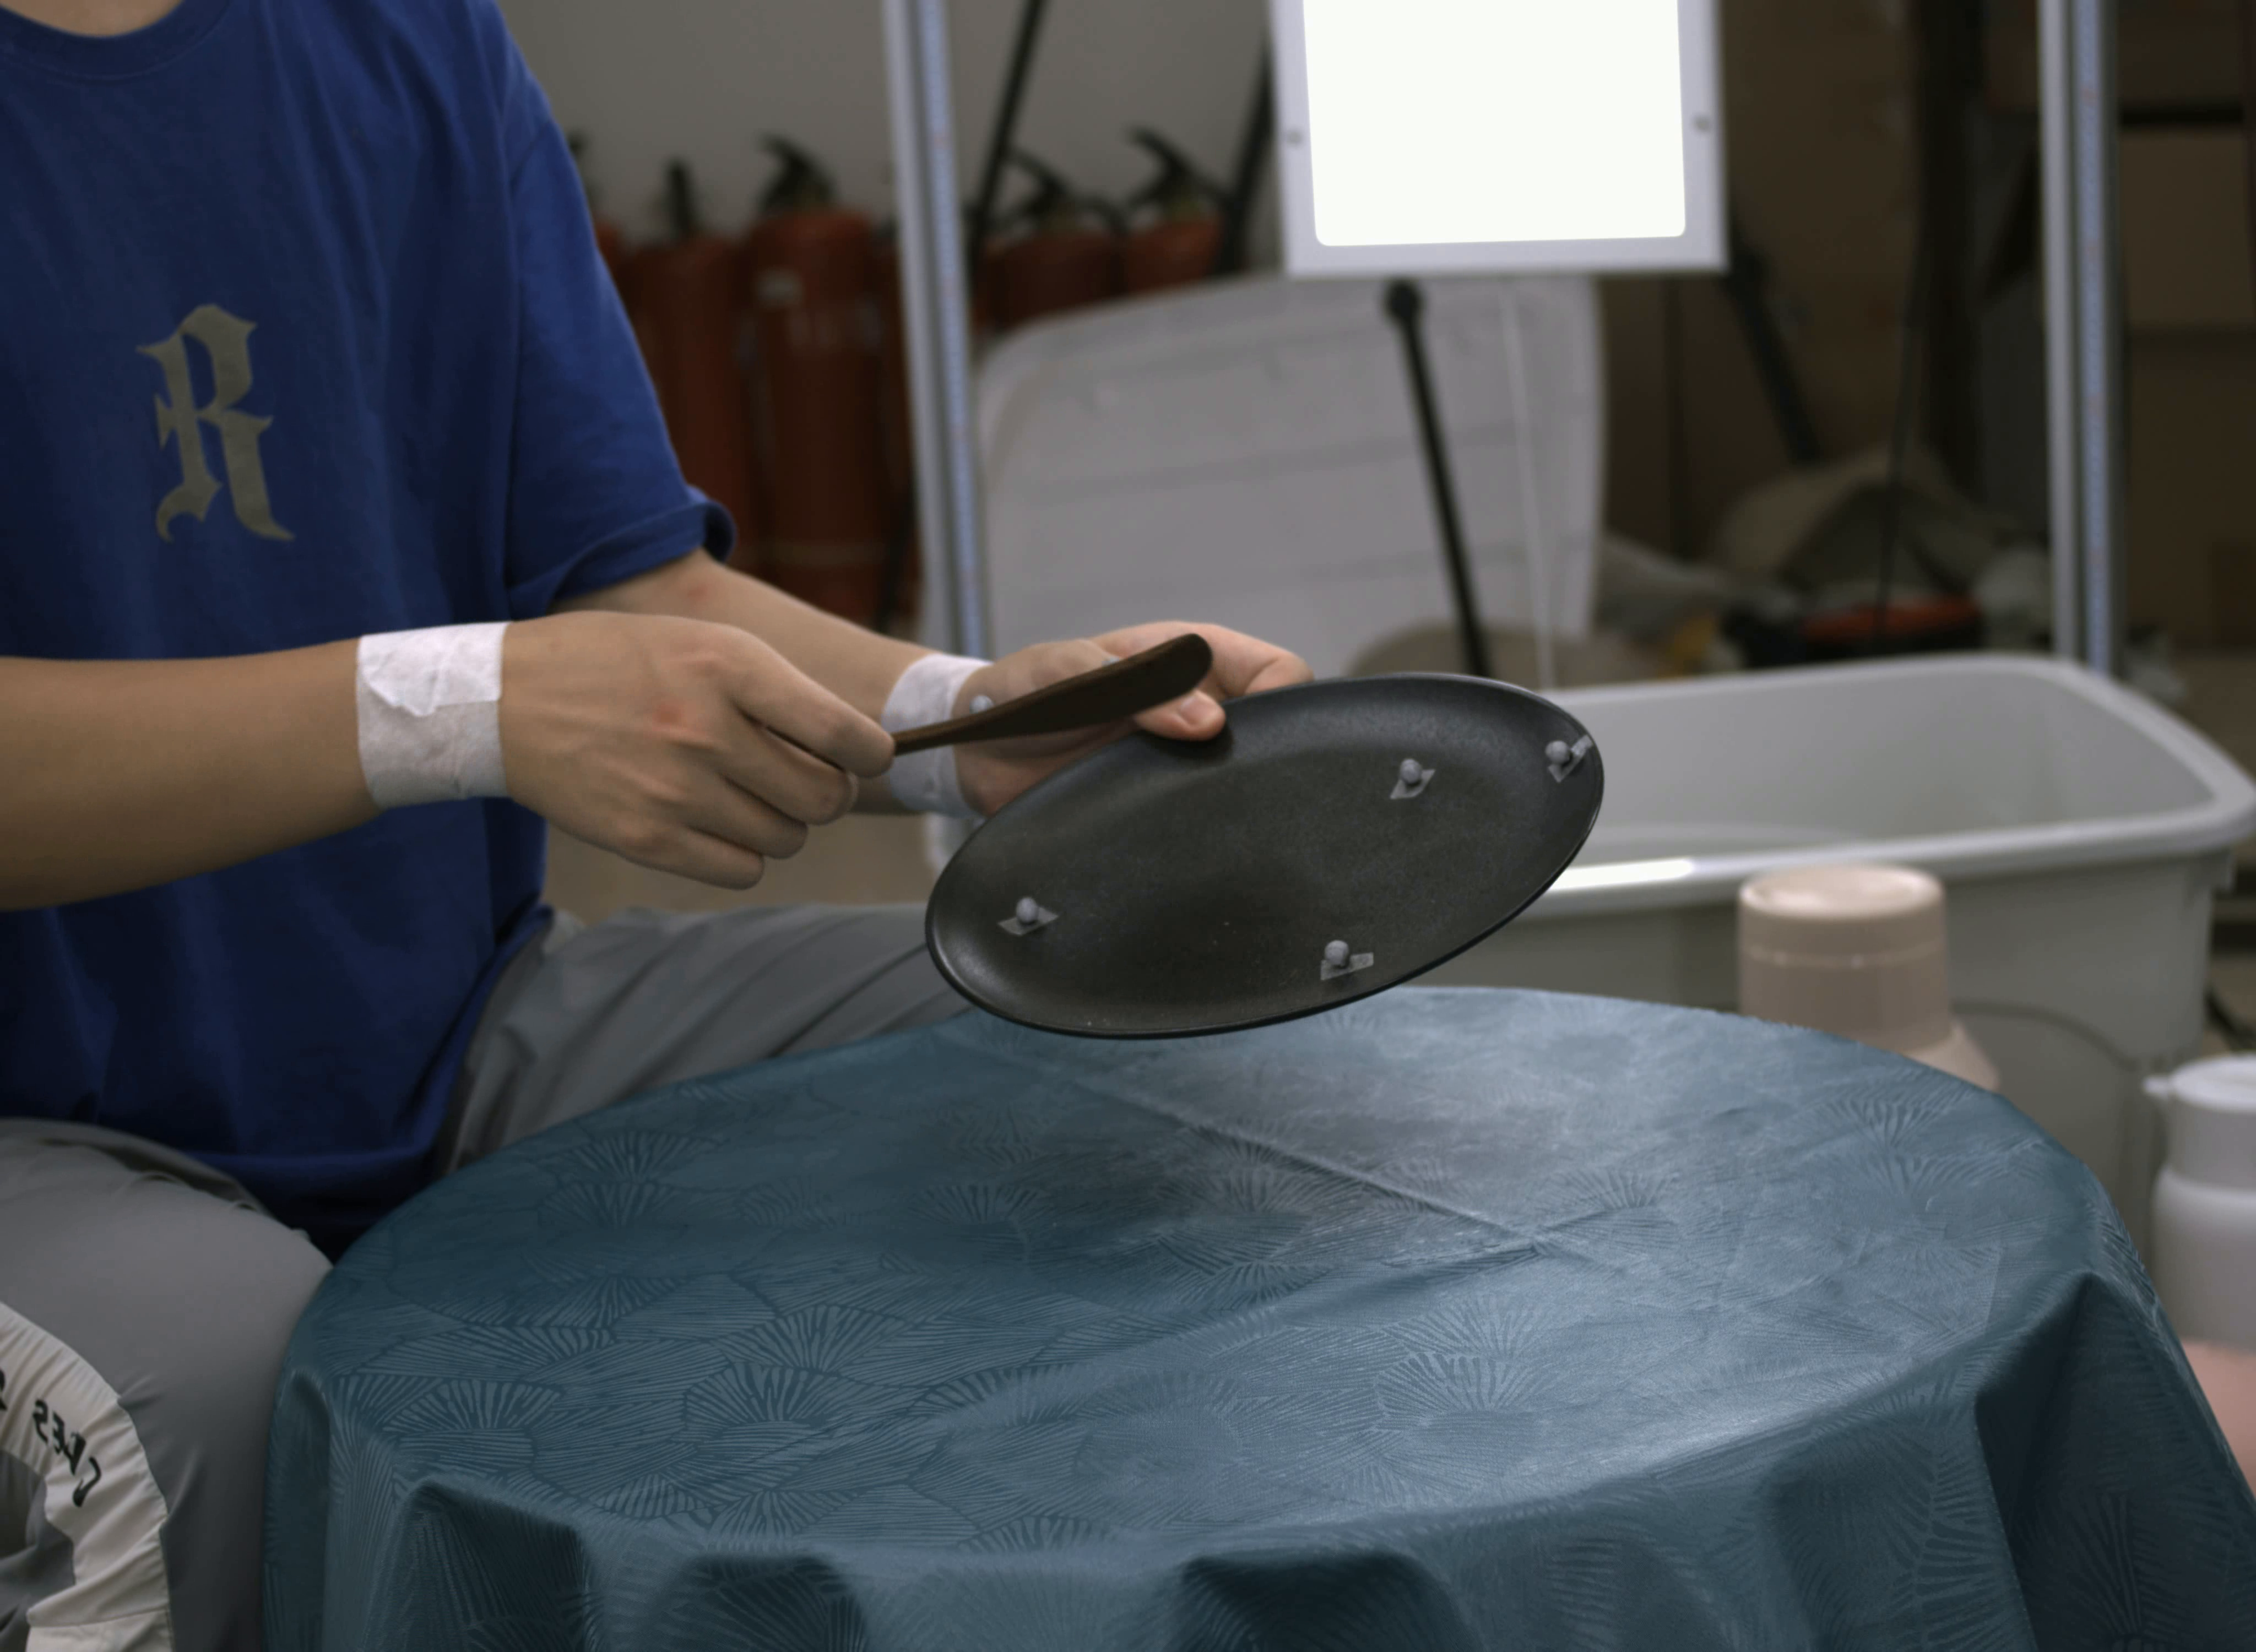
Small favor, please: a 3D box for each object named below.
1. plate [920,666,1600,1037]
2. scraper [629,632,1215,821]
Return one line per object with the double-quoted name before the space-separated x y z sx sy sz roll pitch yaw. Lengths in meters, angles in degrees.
"plate" 0.047 0.014 1.907 0.245 0.023 0.244 -15 27 6
"scraper" -0.071 -0.031 1.914 0.211 0.011 0.075 -14 -13 5
